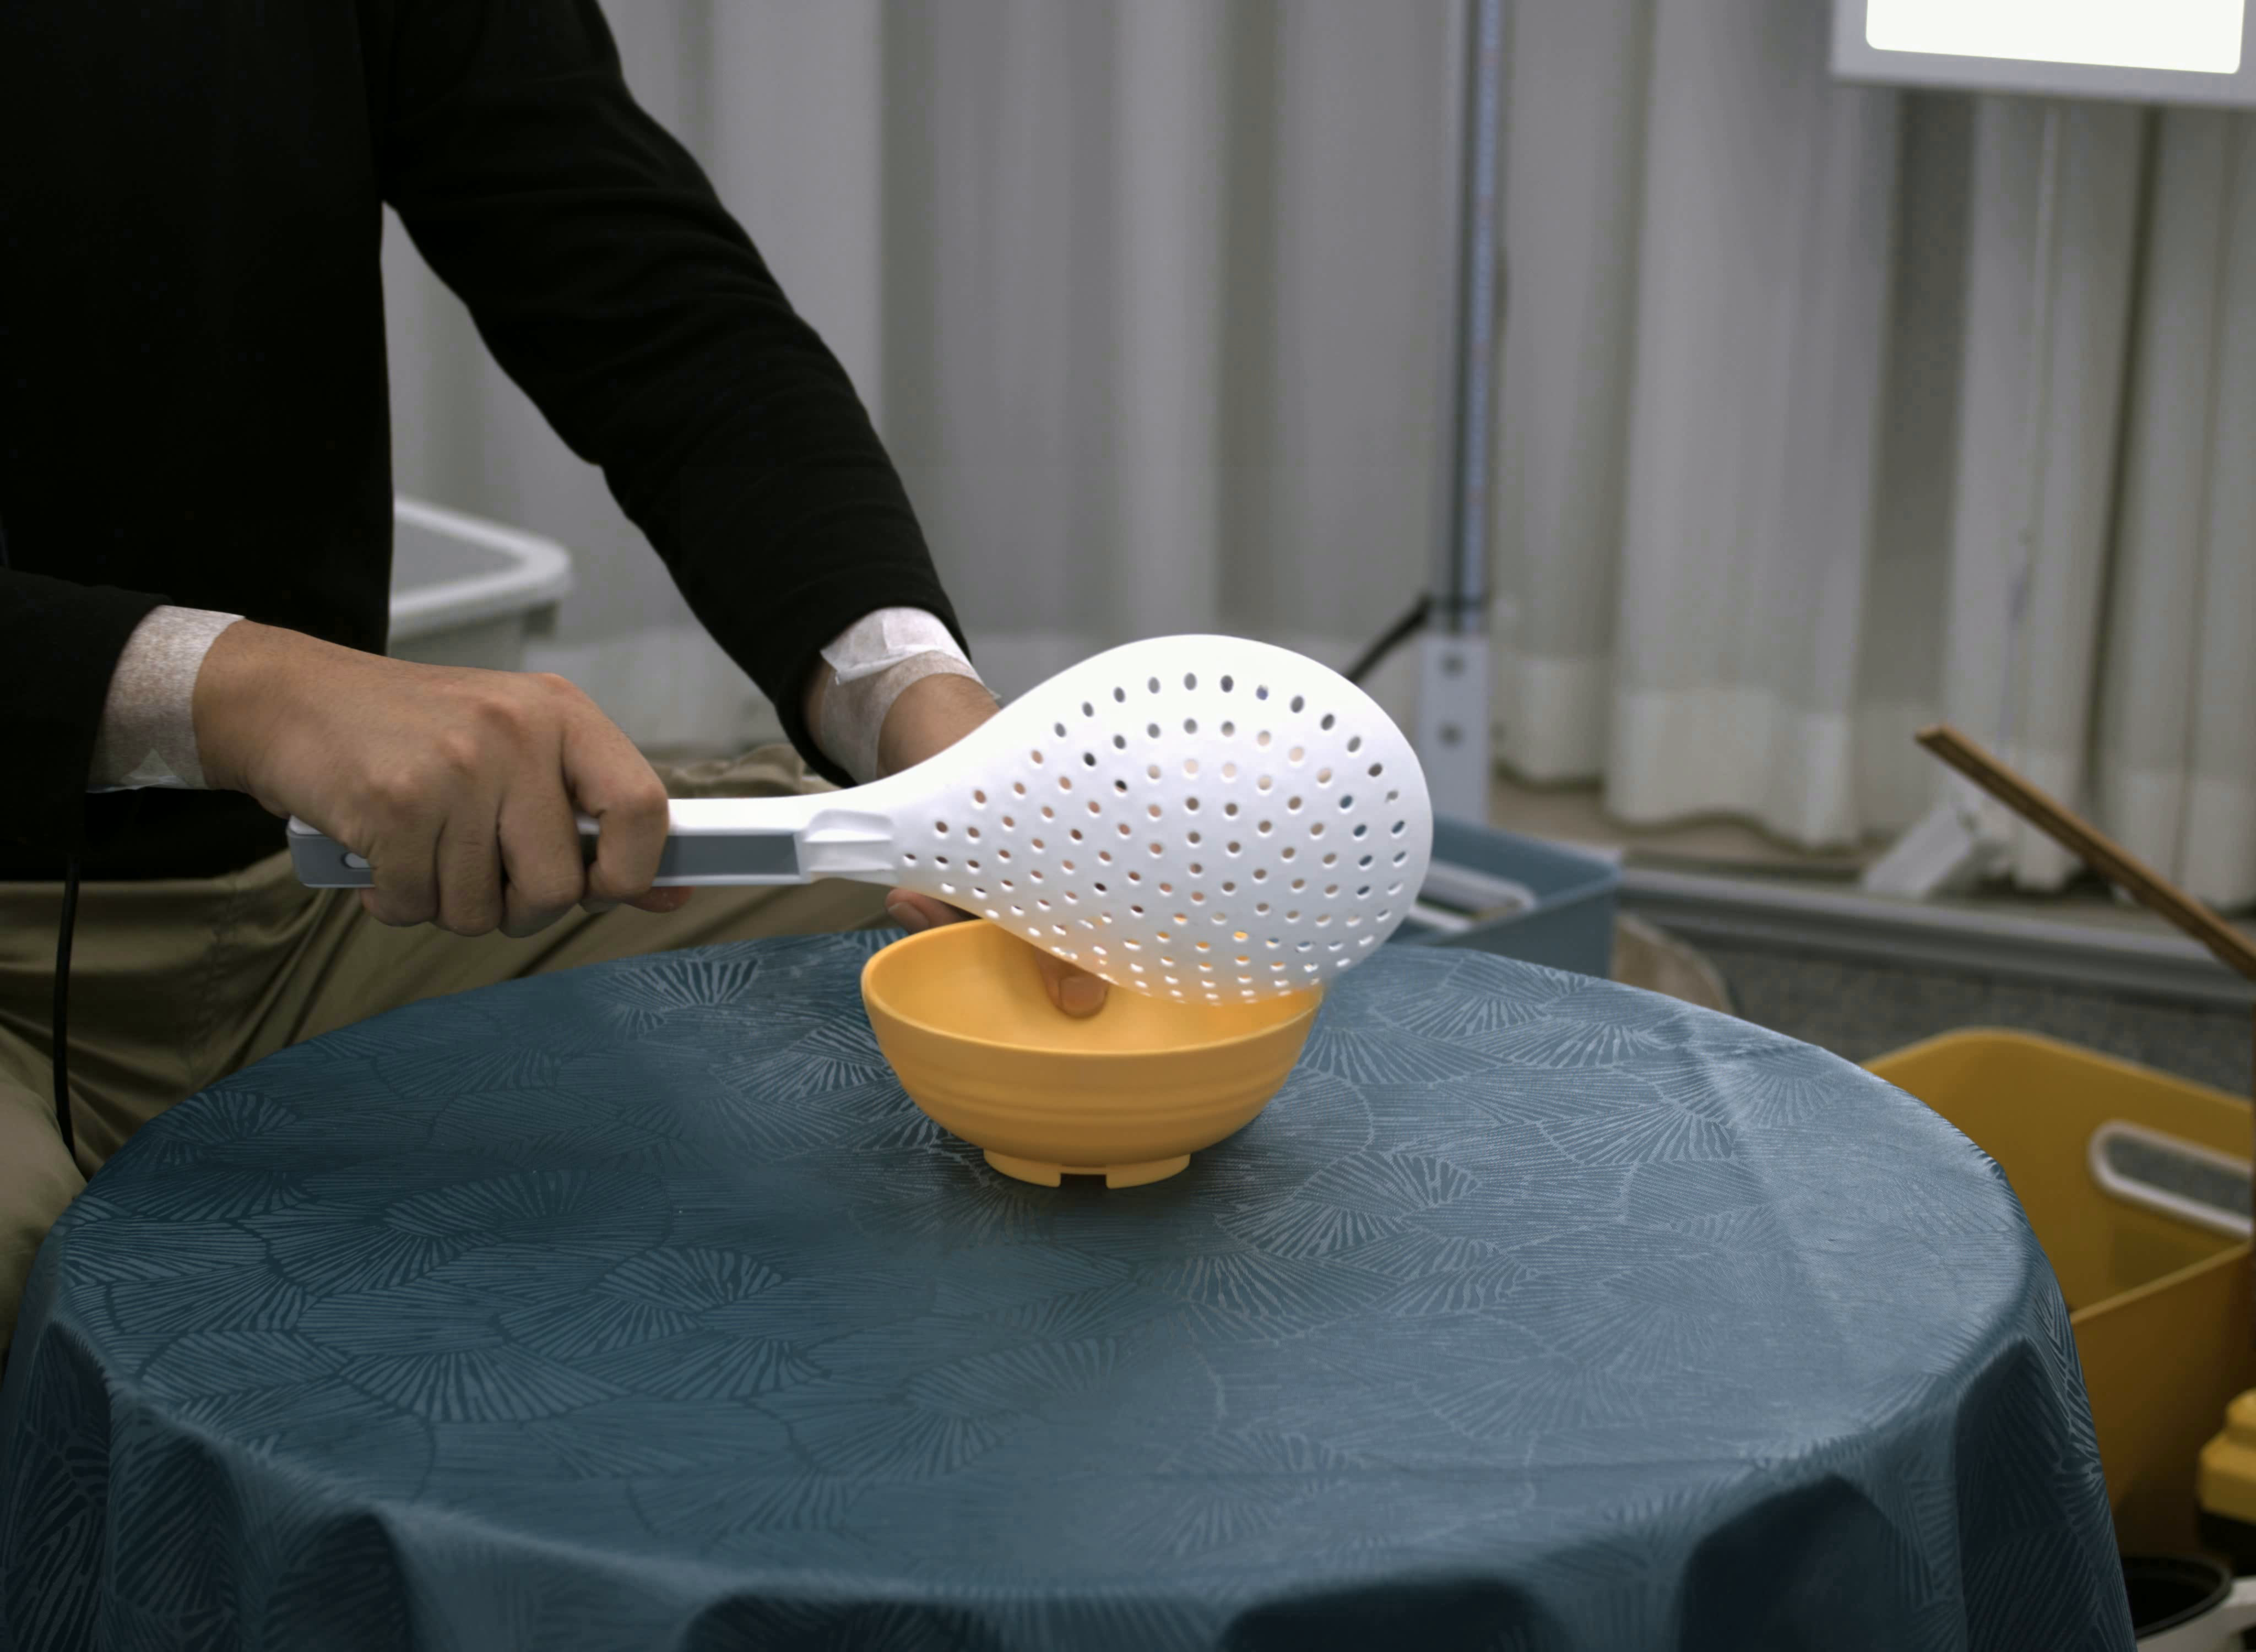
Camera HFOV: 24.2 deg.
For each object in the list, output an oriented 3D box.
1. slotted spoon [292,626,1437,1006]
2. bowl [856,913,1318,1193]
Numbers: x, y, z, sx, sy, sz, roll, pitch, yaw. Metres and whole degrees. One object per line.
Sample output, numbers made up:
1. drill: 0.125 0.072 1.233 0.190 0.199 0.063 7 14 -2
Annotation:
1. slotted spoon: -0.082 0.003 1.597 0.347 0.138 0.045 2 34 9
2. bowl: -0.014 0.076 1.644 0.145 0.060 0.144 4 16 -1
